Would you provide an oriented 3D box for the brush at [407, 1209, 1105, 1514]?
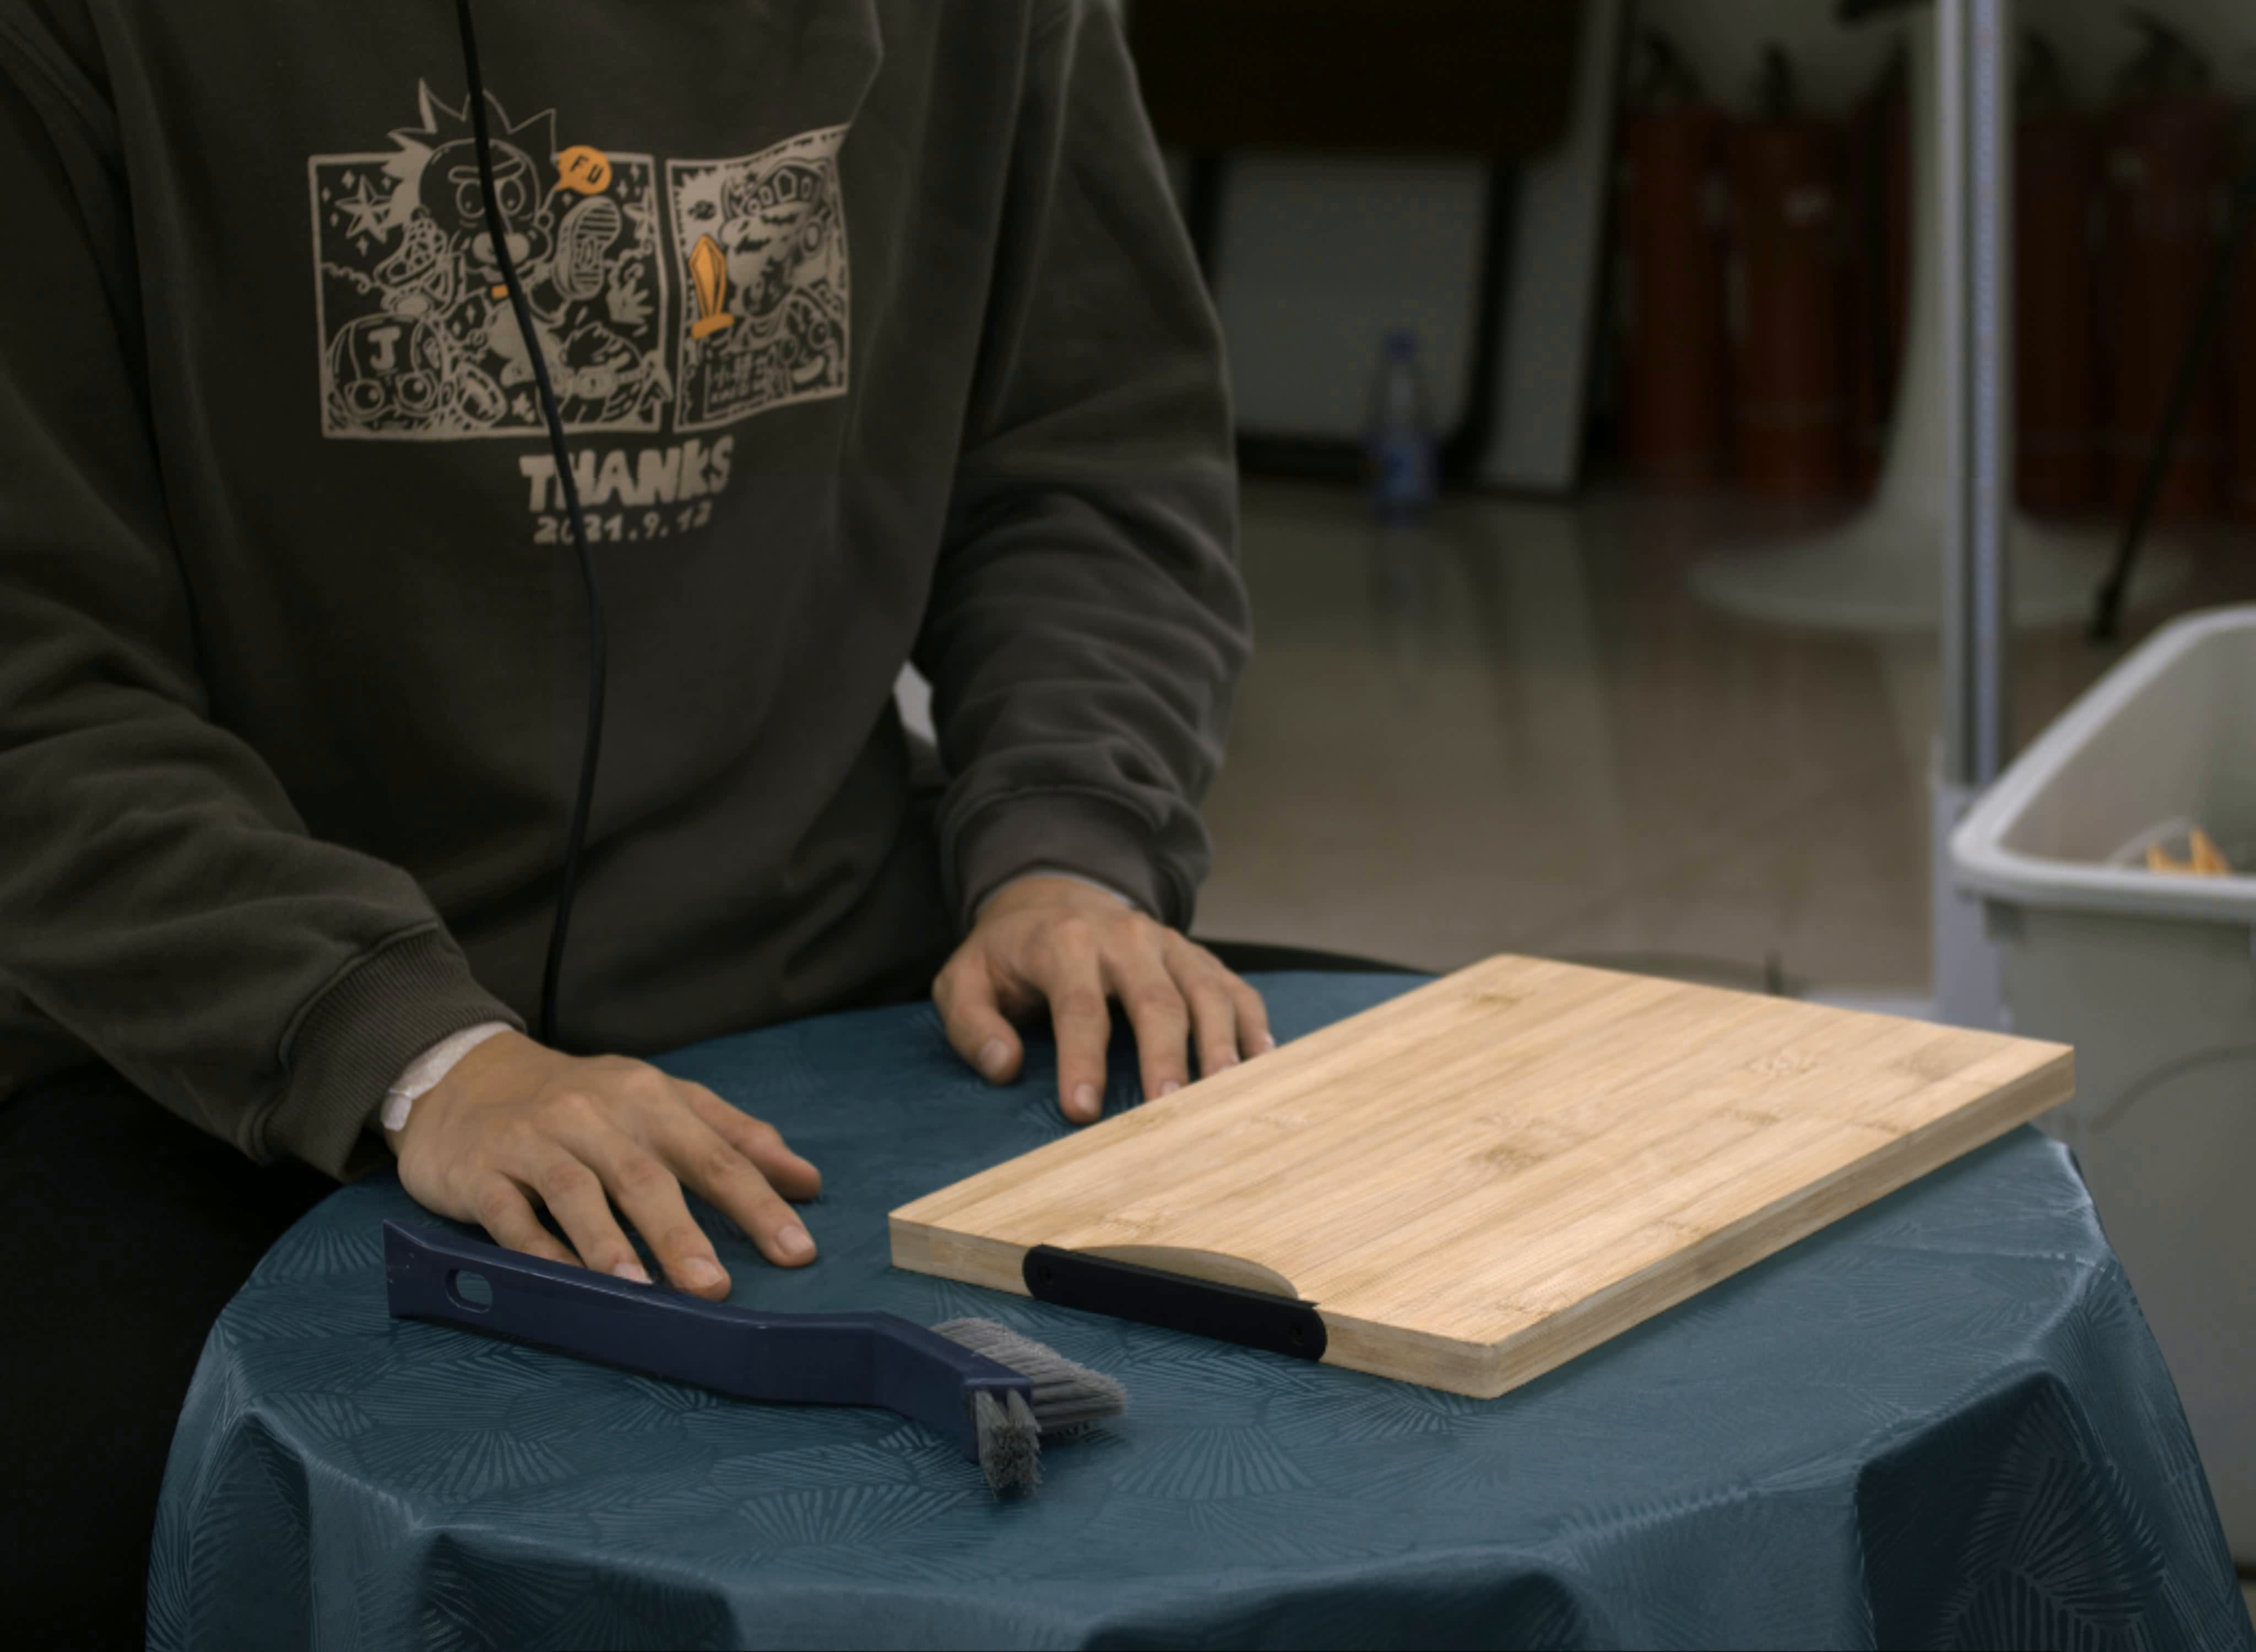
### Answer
[{"bbox_3d":[-0.127,0.156,1.605,0.274,0.034,0.094,6,17,33],"label":"brush"}]

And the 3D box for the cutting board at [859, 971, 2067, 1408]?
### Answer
[{"bbox_3d":[0.116,0.111,1.751,0.252,0.024,0.342,6,17,39],"label":"cutting board"}]
